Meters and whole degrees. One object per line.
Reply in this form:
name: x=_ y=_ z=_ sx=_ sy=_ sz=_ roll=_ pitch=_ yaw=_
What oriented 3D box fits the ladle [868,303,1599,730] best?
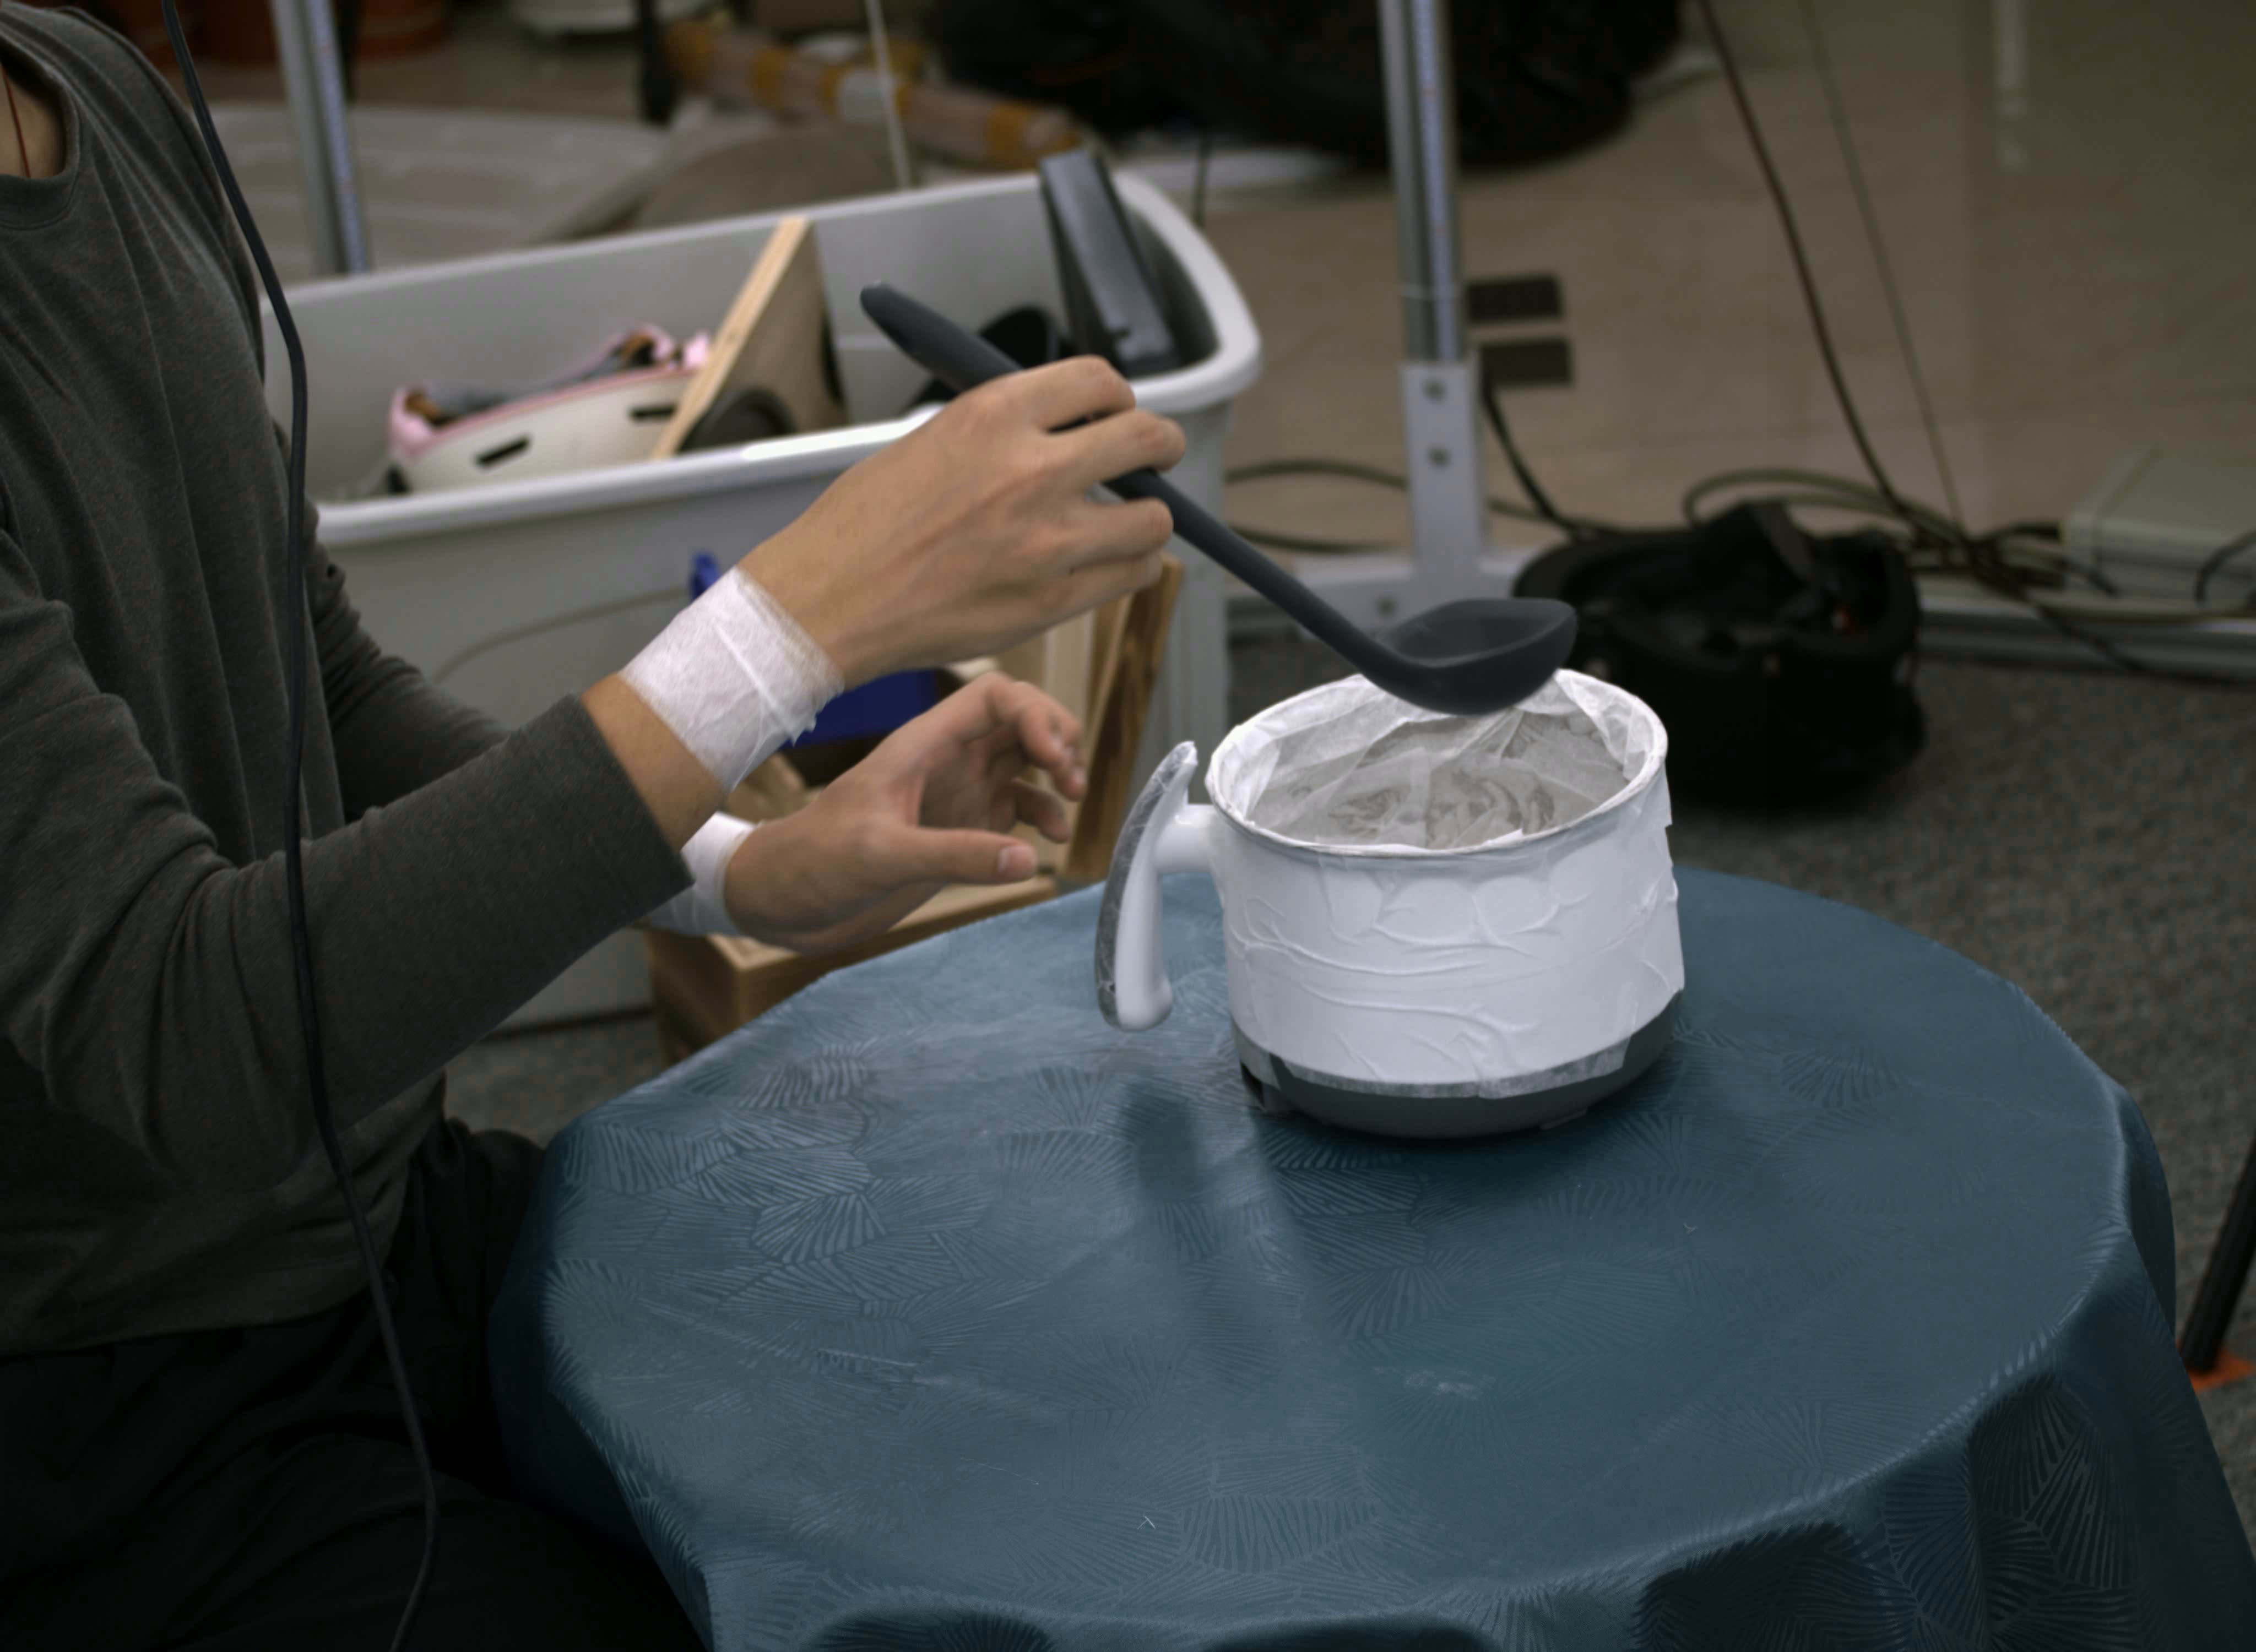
ladle: x=0.036 y=-0.119 z=1.965 sx=0.086 sy=0.317 sz=0.063 roll=3 pitch=65 yaw=54

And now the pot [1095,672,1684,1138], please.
pot: x=0.098 y=0.030 z=2.197 sx=0.233 sy=0.139 sz=0.176 roll=0 pitch=26 yaw=14
